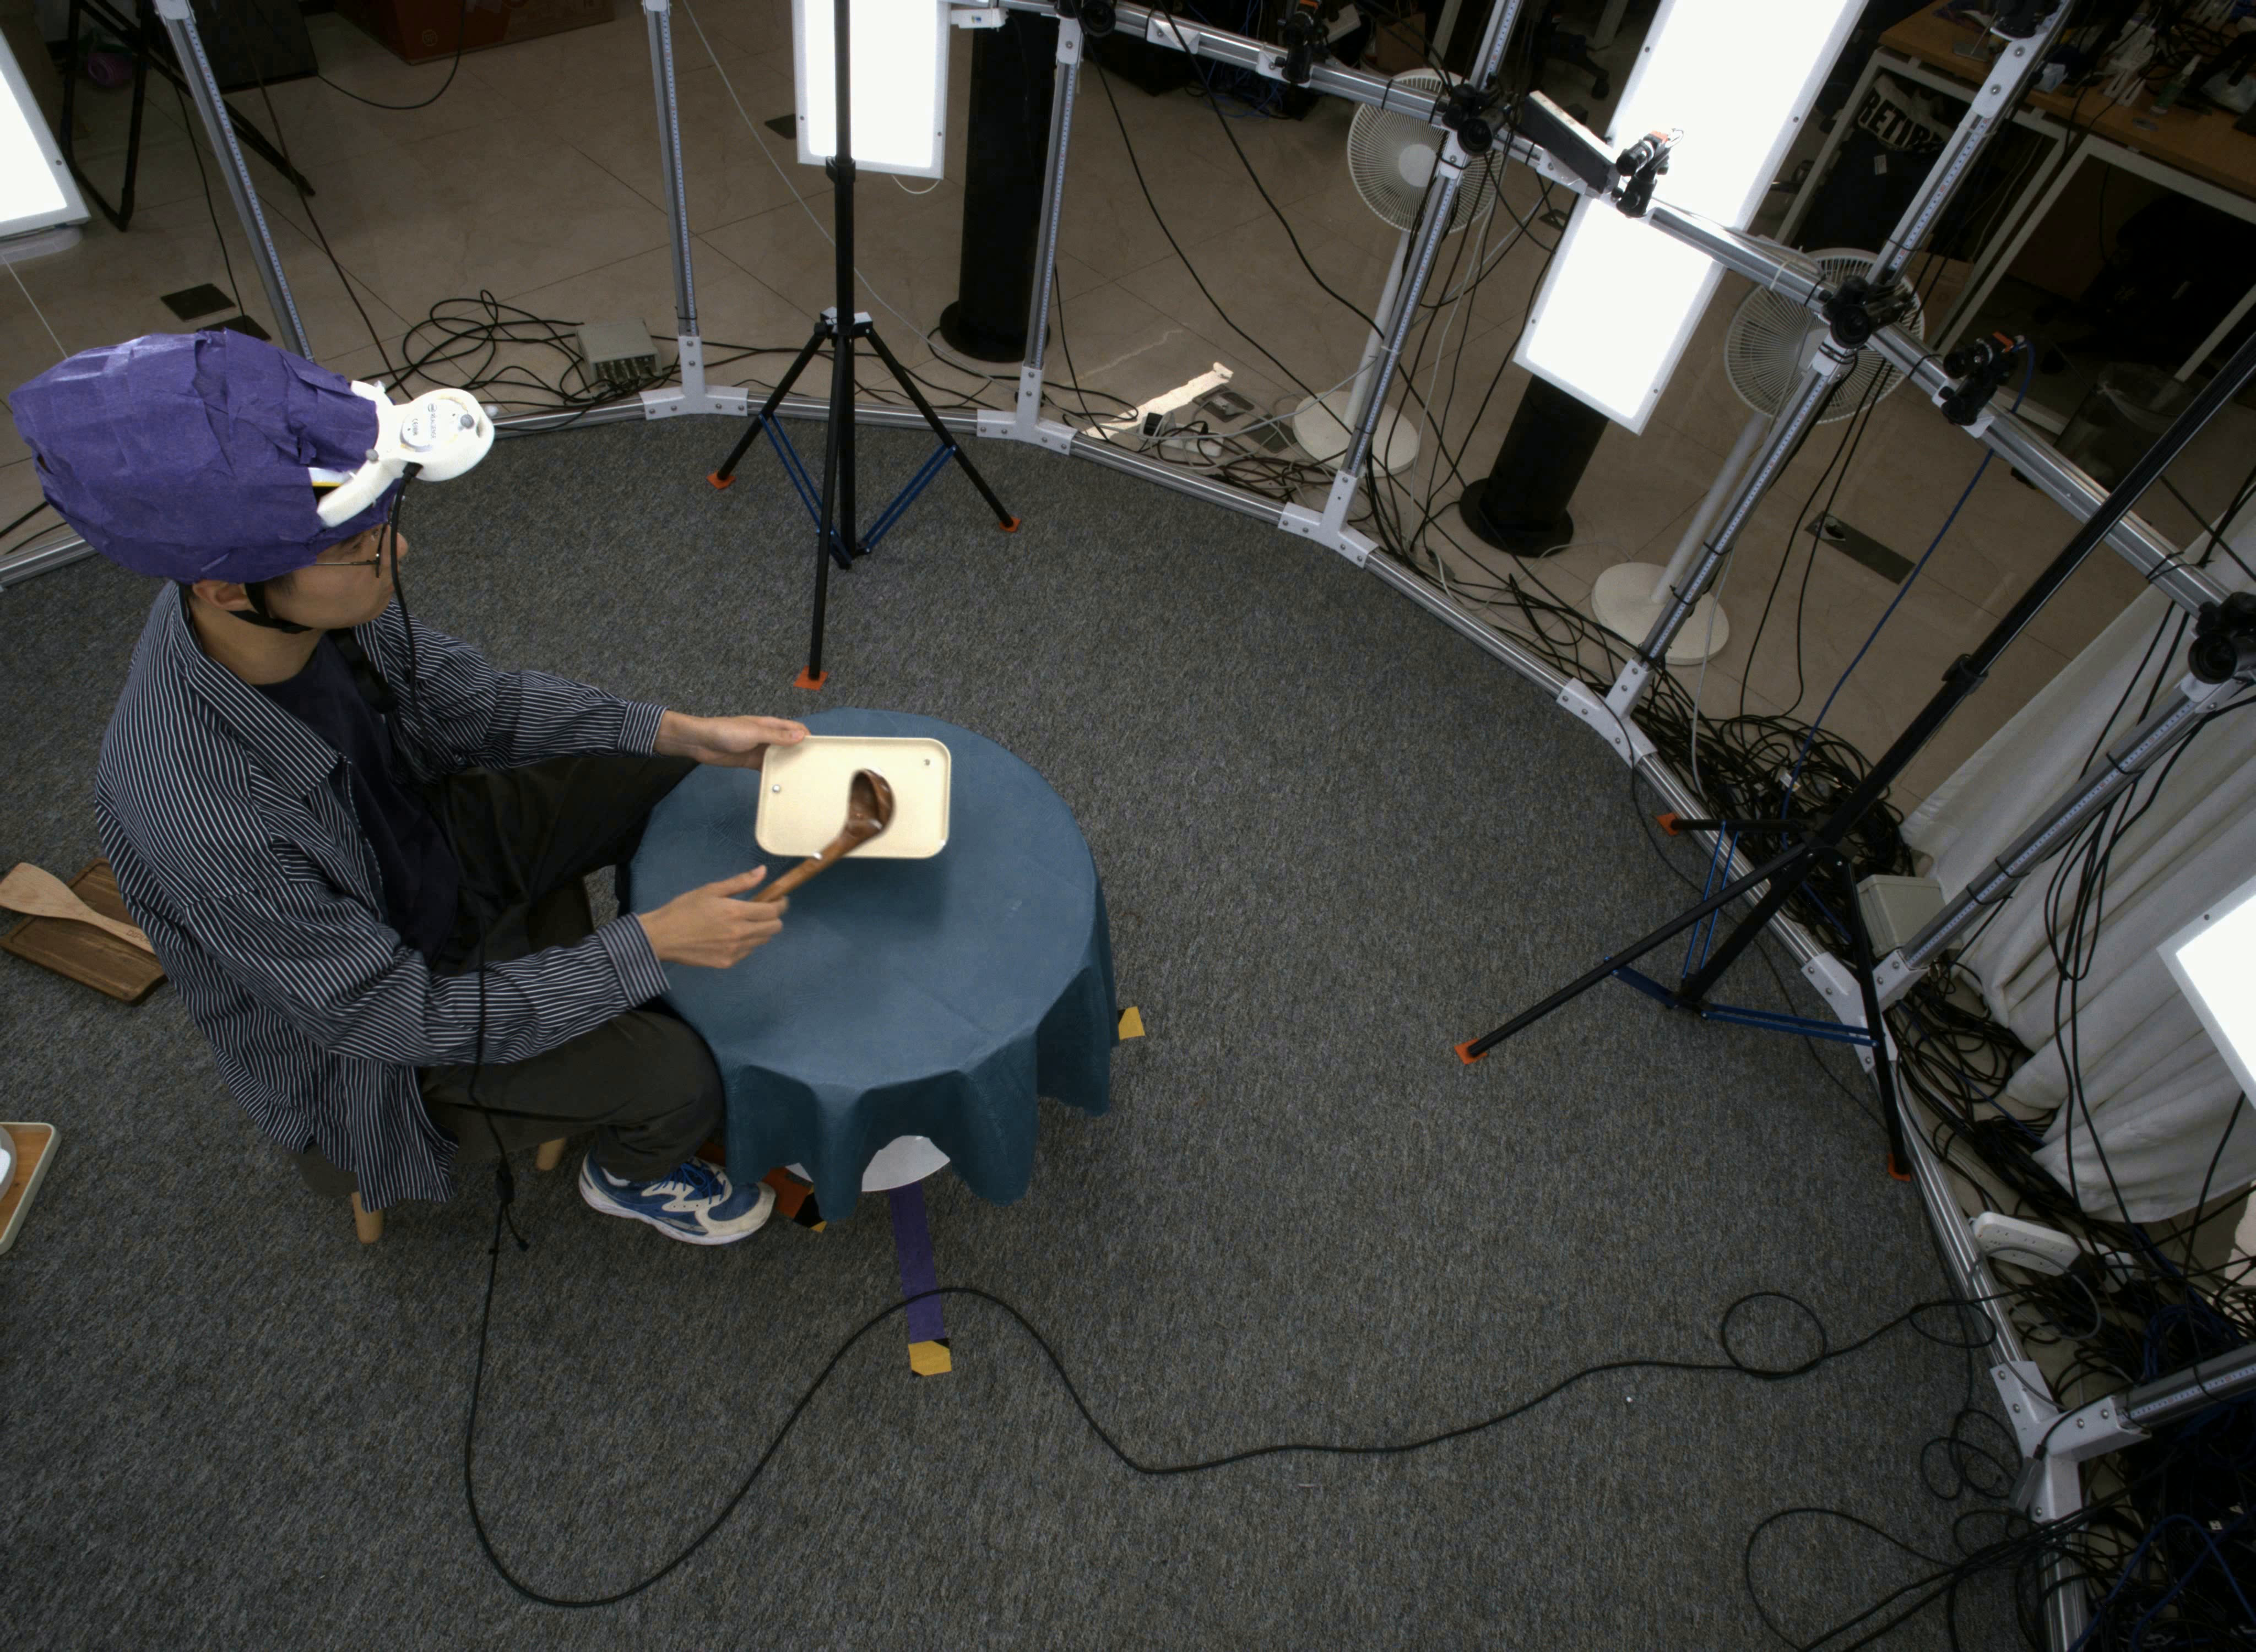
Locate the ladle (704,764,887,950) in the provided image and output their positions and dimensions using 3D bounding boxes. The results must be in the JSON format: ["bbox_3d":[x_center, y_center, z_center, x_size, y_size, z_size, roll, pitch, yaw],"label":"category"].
[{"bbox_3d":[-0.389,0.033,1.485,0.274,0.079,0.079,-37,44,-11],"label":"ladle"}]

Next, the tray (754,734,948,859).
[{"bbox_3d":[-0.350,-0.037,1.652,0.238,0.018,0.169,2,67,-6],"label":"tray"}]
